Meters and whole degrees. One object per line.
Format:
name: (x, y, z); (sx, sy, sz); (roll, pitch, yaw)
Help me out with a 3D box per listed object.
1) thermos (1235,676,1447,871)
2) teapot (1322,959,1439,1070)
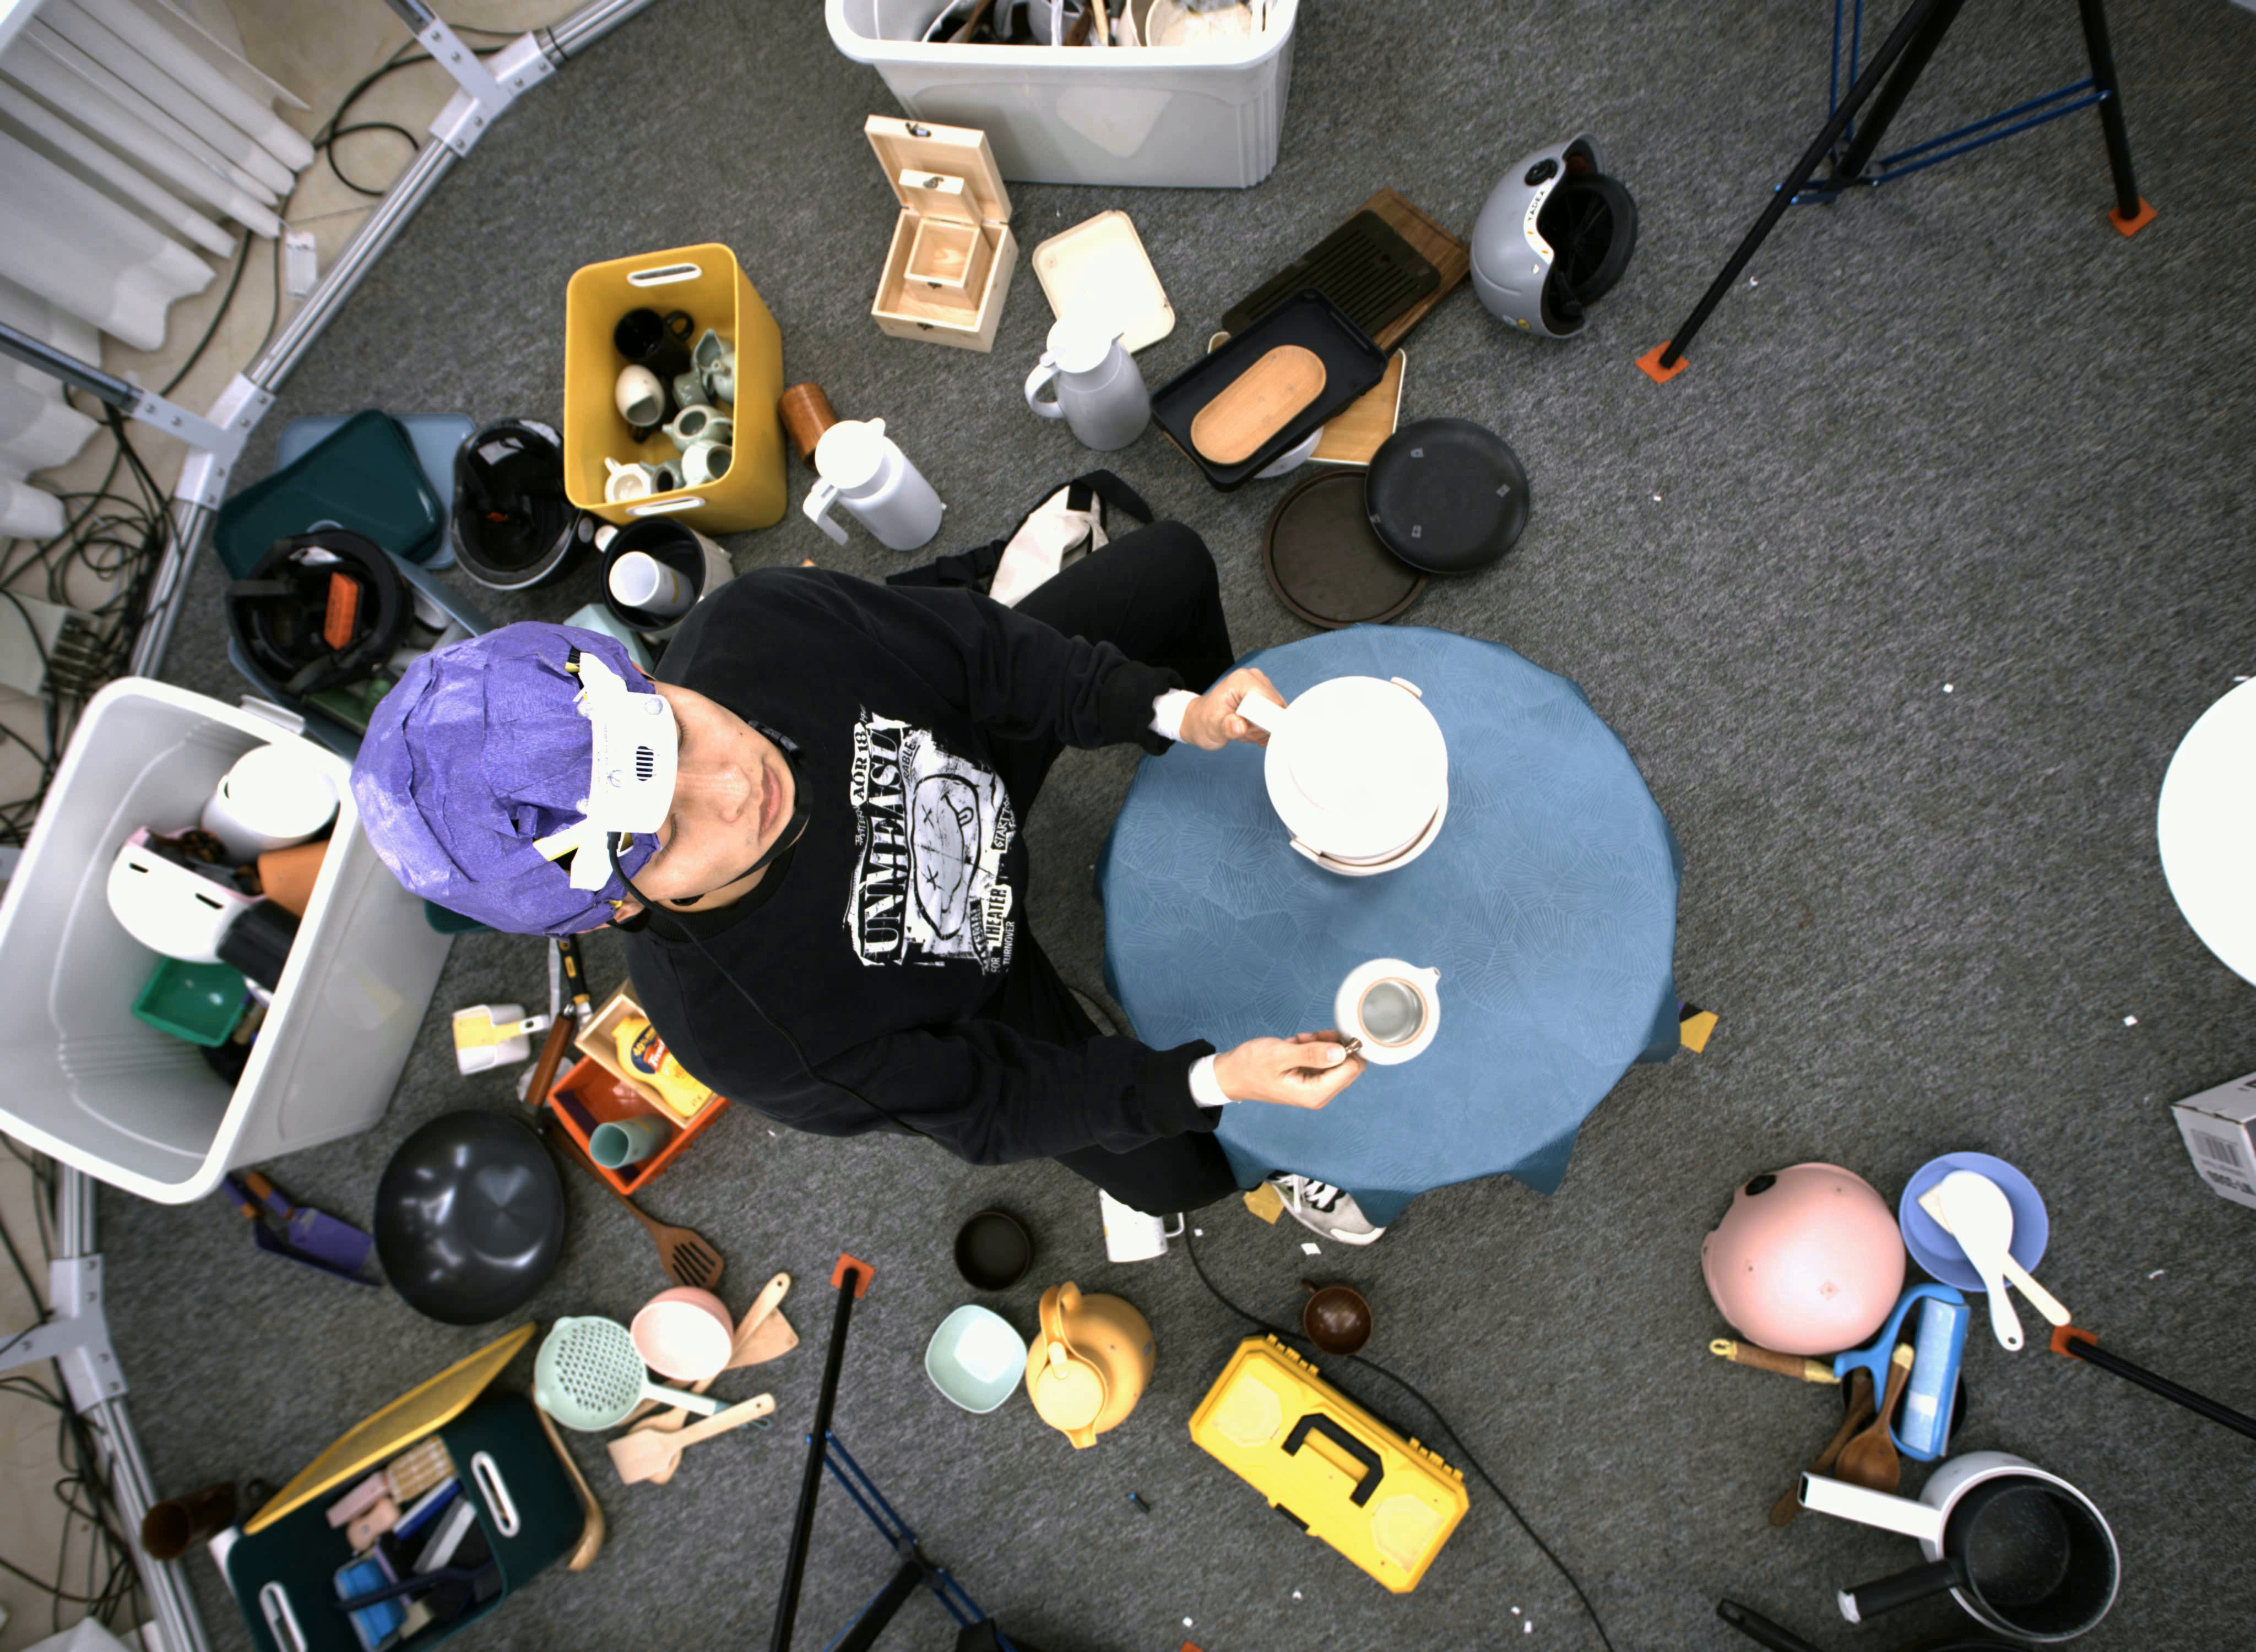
thermos: (0.199, -0.054, 1.279); (0.206, 0.406, 0.176); (31, 93, 10)
teapot: (0.219, 0.168, 1.211); (0.128, 0.060, 0.092); (-42, 88, -2)
